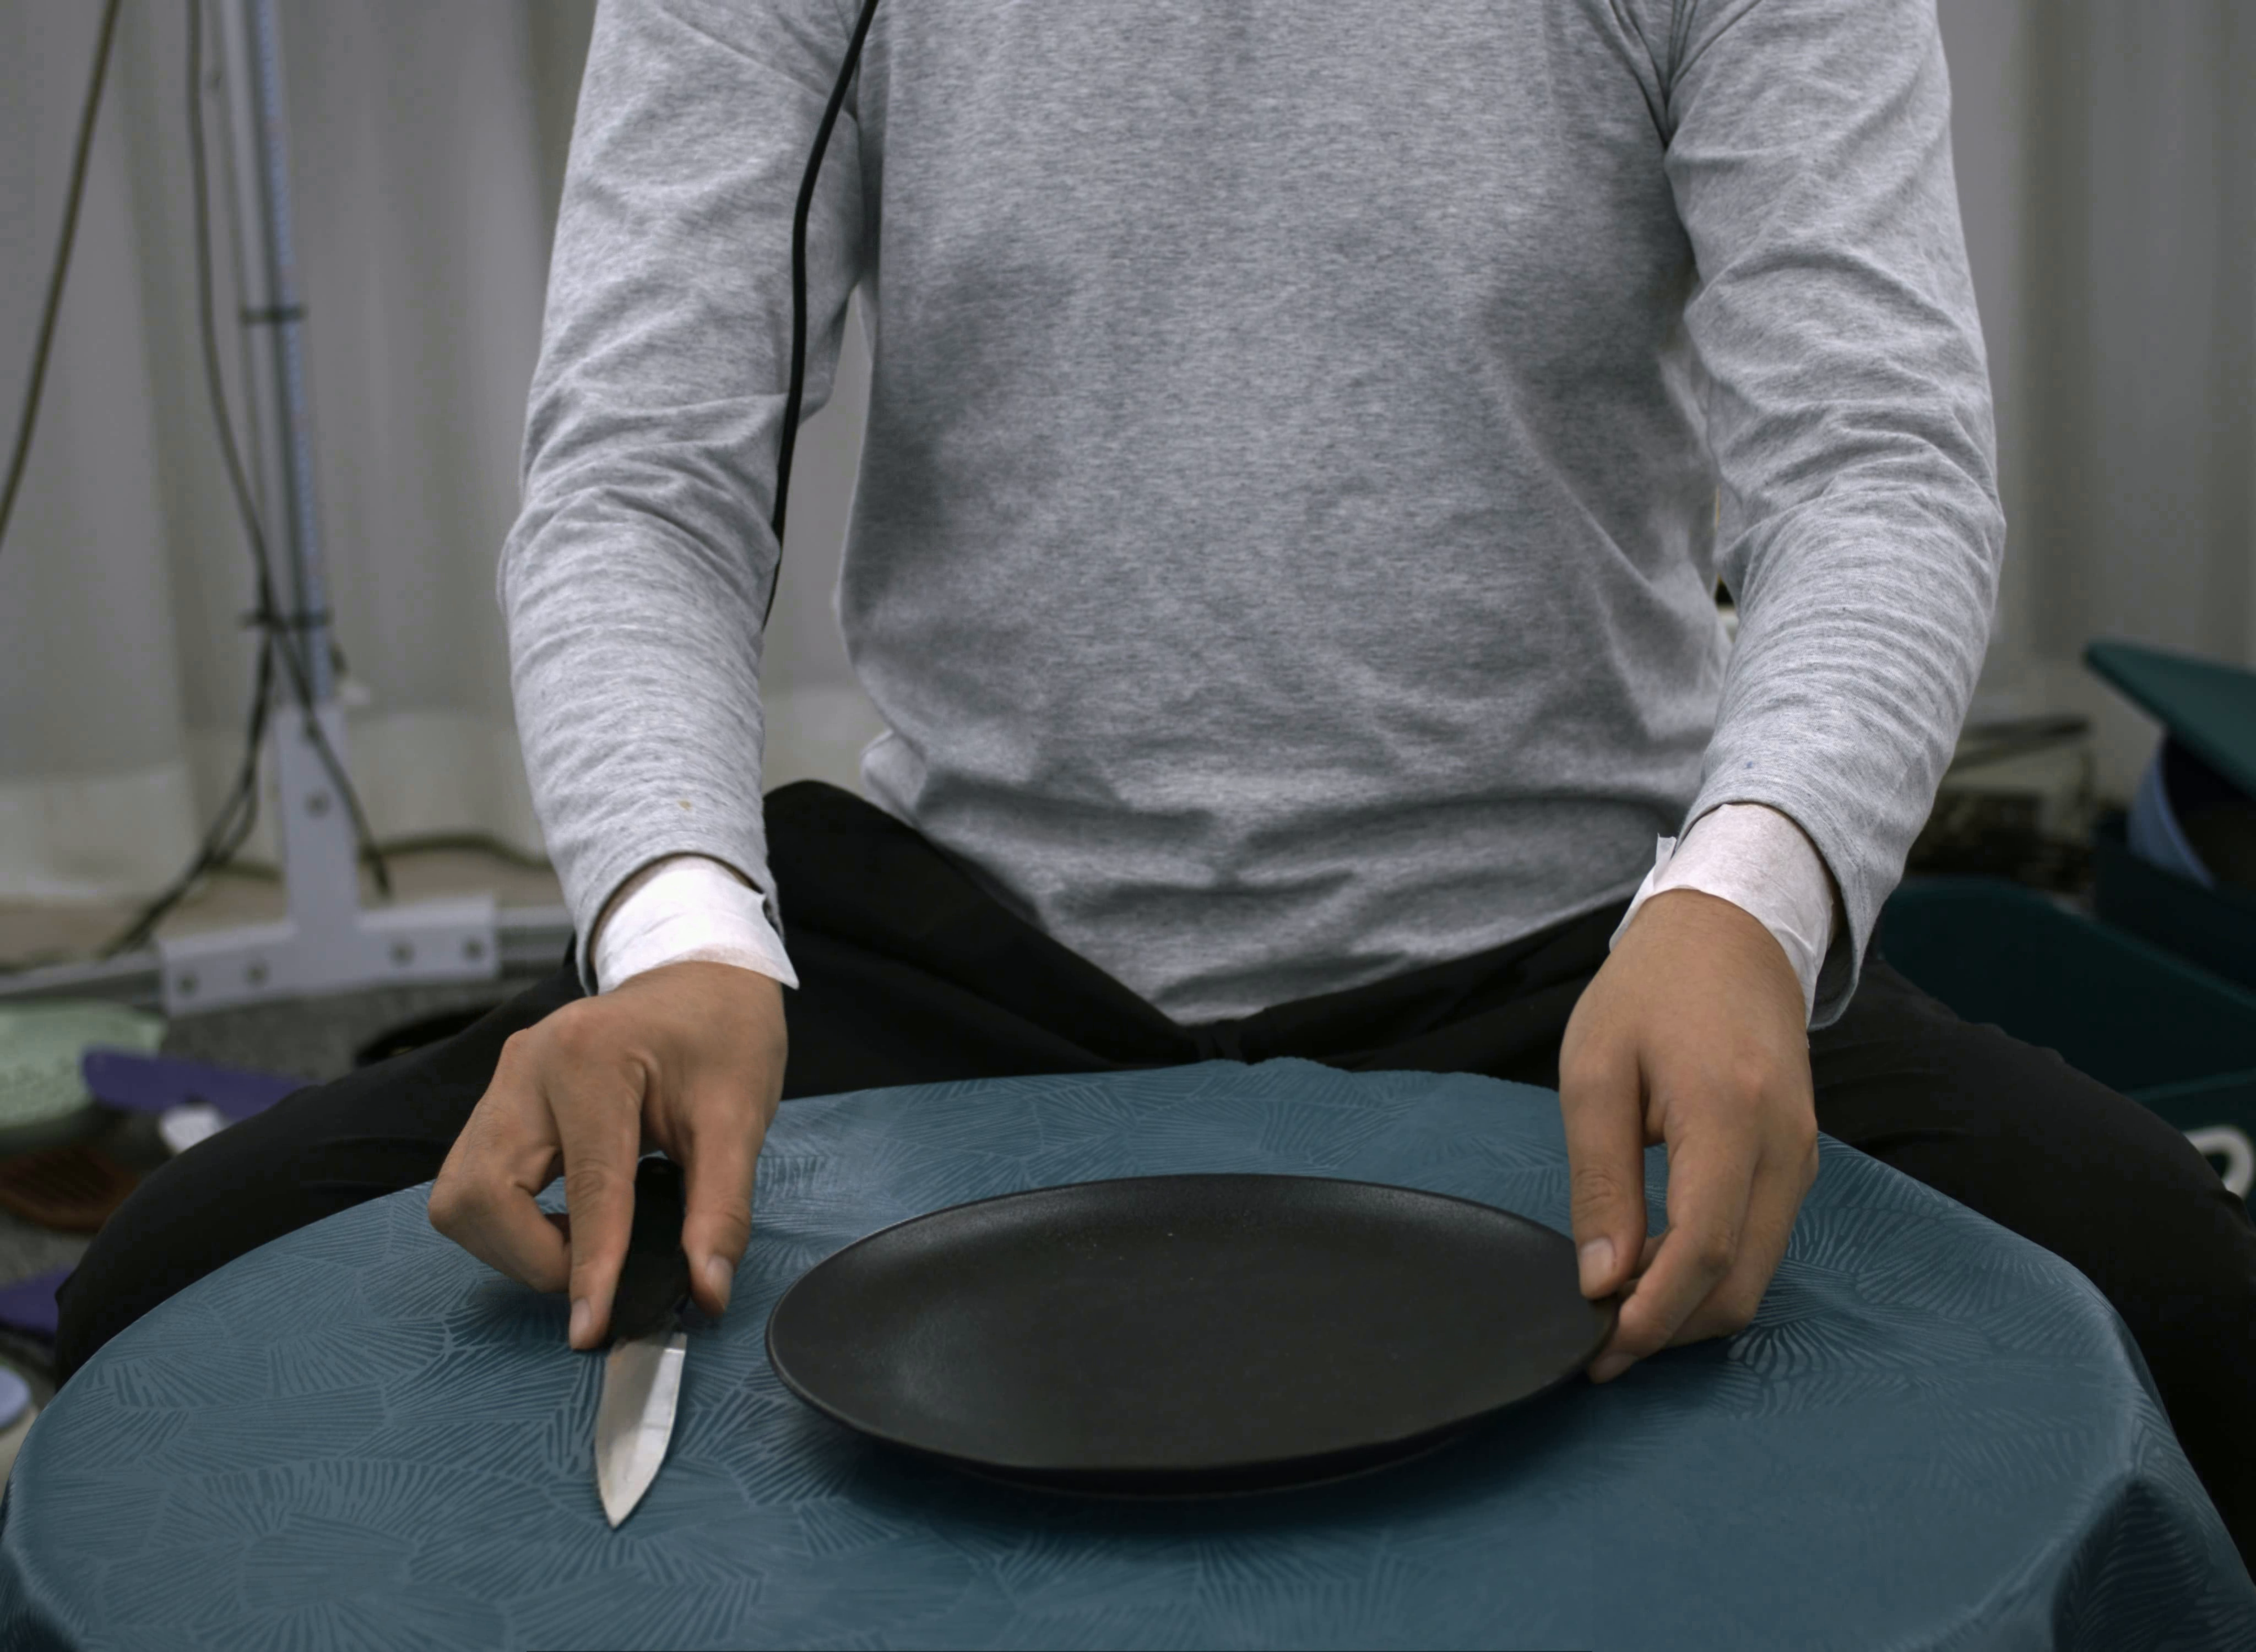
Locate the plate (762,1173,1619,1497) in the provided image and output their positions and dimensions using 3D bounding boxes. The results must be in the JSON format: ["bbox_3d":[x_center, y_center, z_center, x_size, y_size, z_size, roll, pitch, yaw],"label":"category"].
[{"bbox_3d":[0.018,0.147,1.550,0.243,0.023,0.246,-3,15,0],"label":"plate"}]

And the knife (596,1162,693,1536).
[{"bbox_3d":[-0.140,0.149,1.573,0.024,0.016,0.240,4,20,-4],"label":"knife"}]
